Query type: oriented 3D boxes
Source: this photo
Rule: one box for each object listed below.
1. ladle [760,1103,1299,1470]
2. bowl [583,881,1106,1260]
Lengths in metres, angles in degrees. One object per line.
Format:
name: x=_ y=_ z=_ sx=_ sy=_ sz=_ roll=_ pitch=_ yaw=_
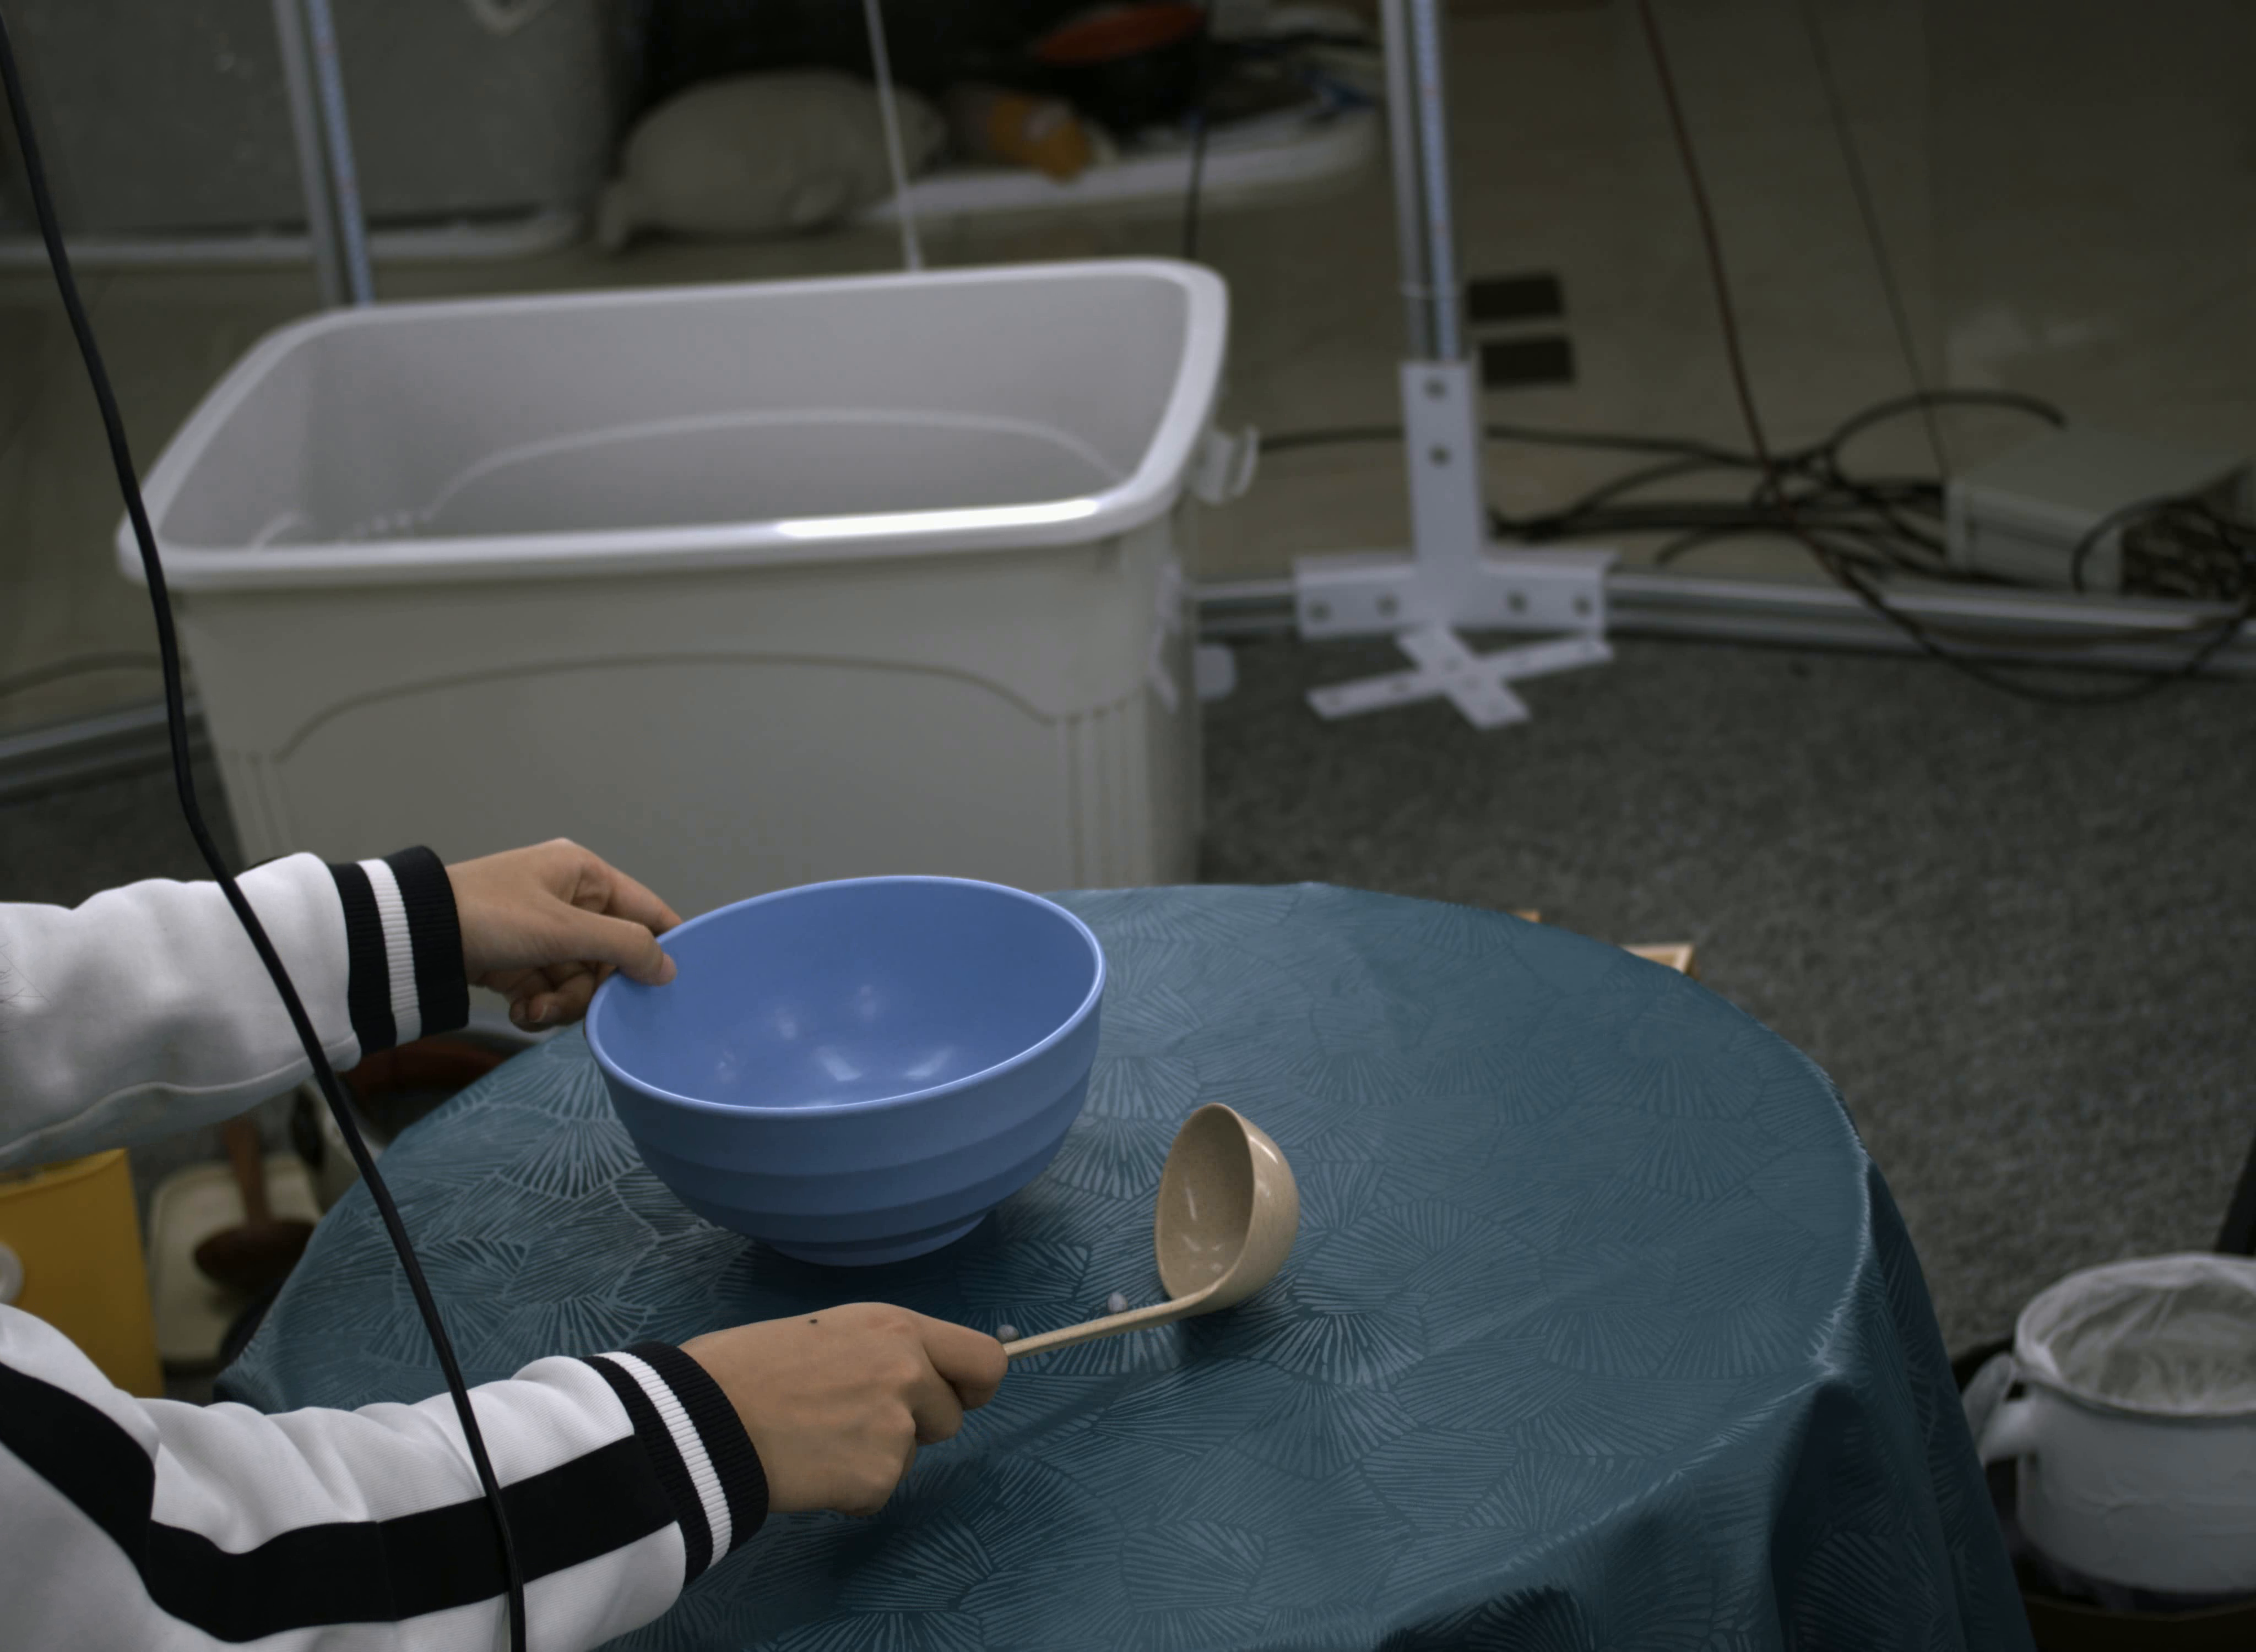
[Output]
ladle: x=-0.044 y=0.158 z=1.991 sx=0.253 sy=0.072 sz=0.073 roll=-15 pitch=-14 yaw=-40
bowl: x=-0.103 y=0.101 z=2.135 sx=0.196 sy=0.097 sz=0.194 roll=-4 pitch=22 yaw=2
